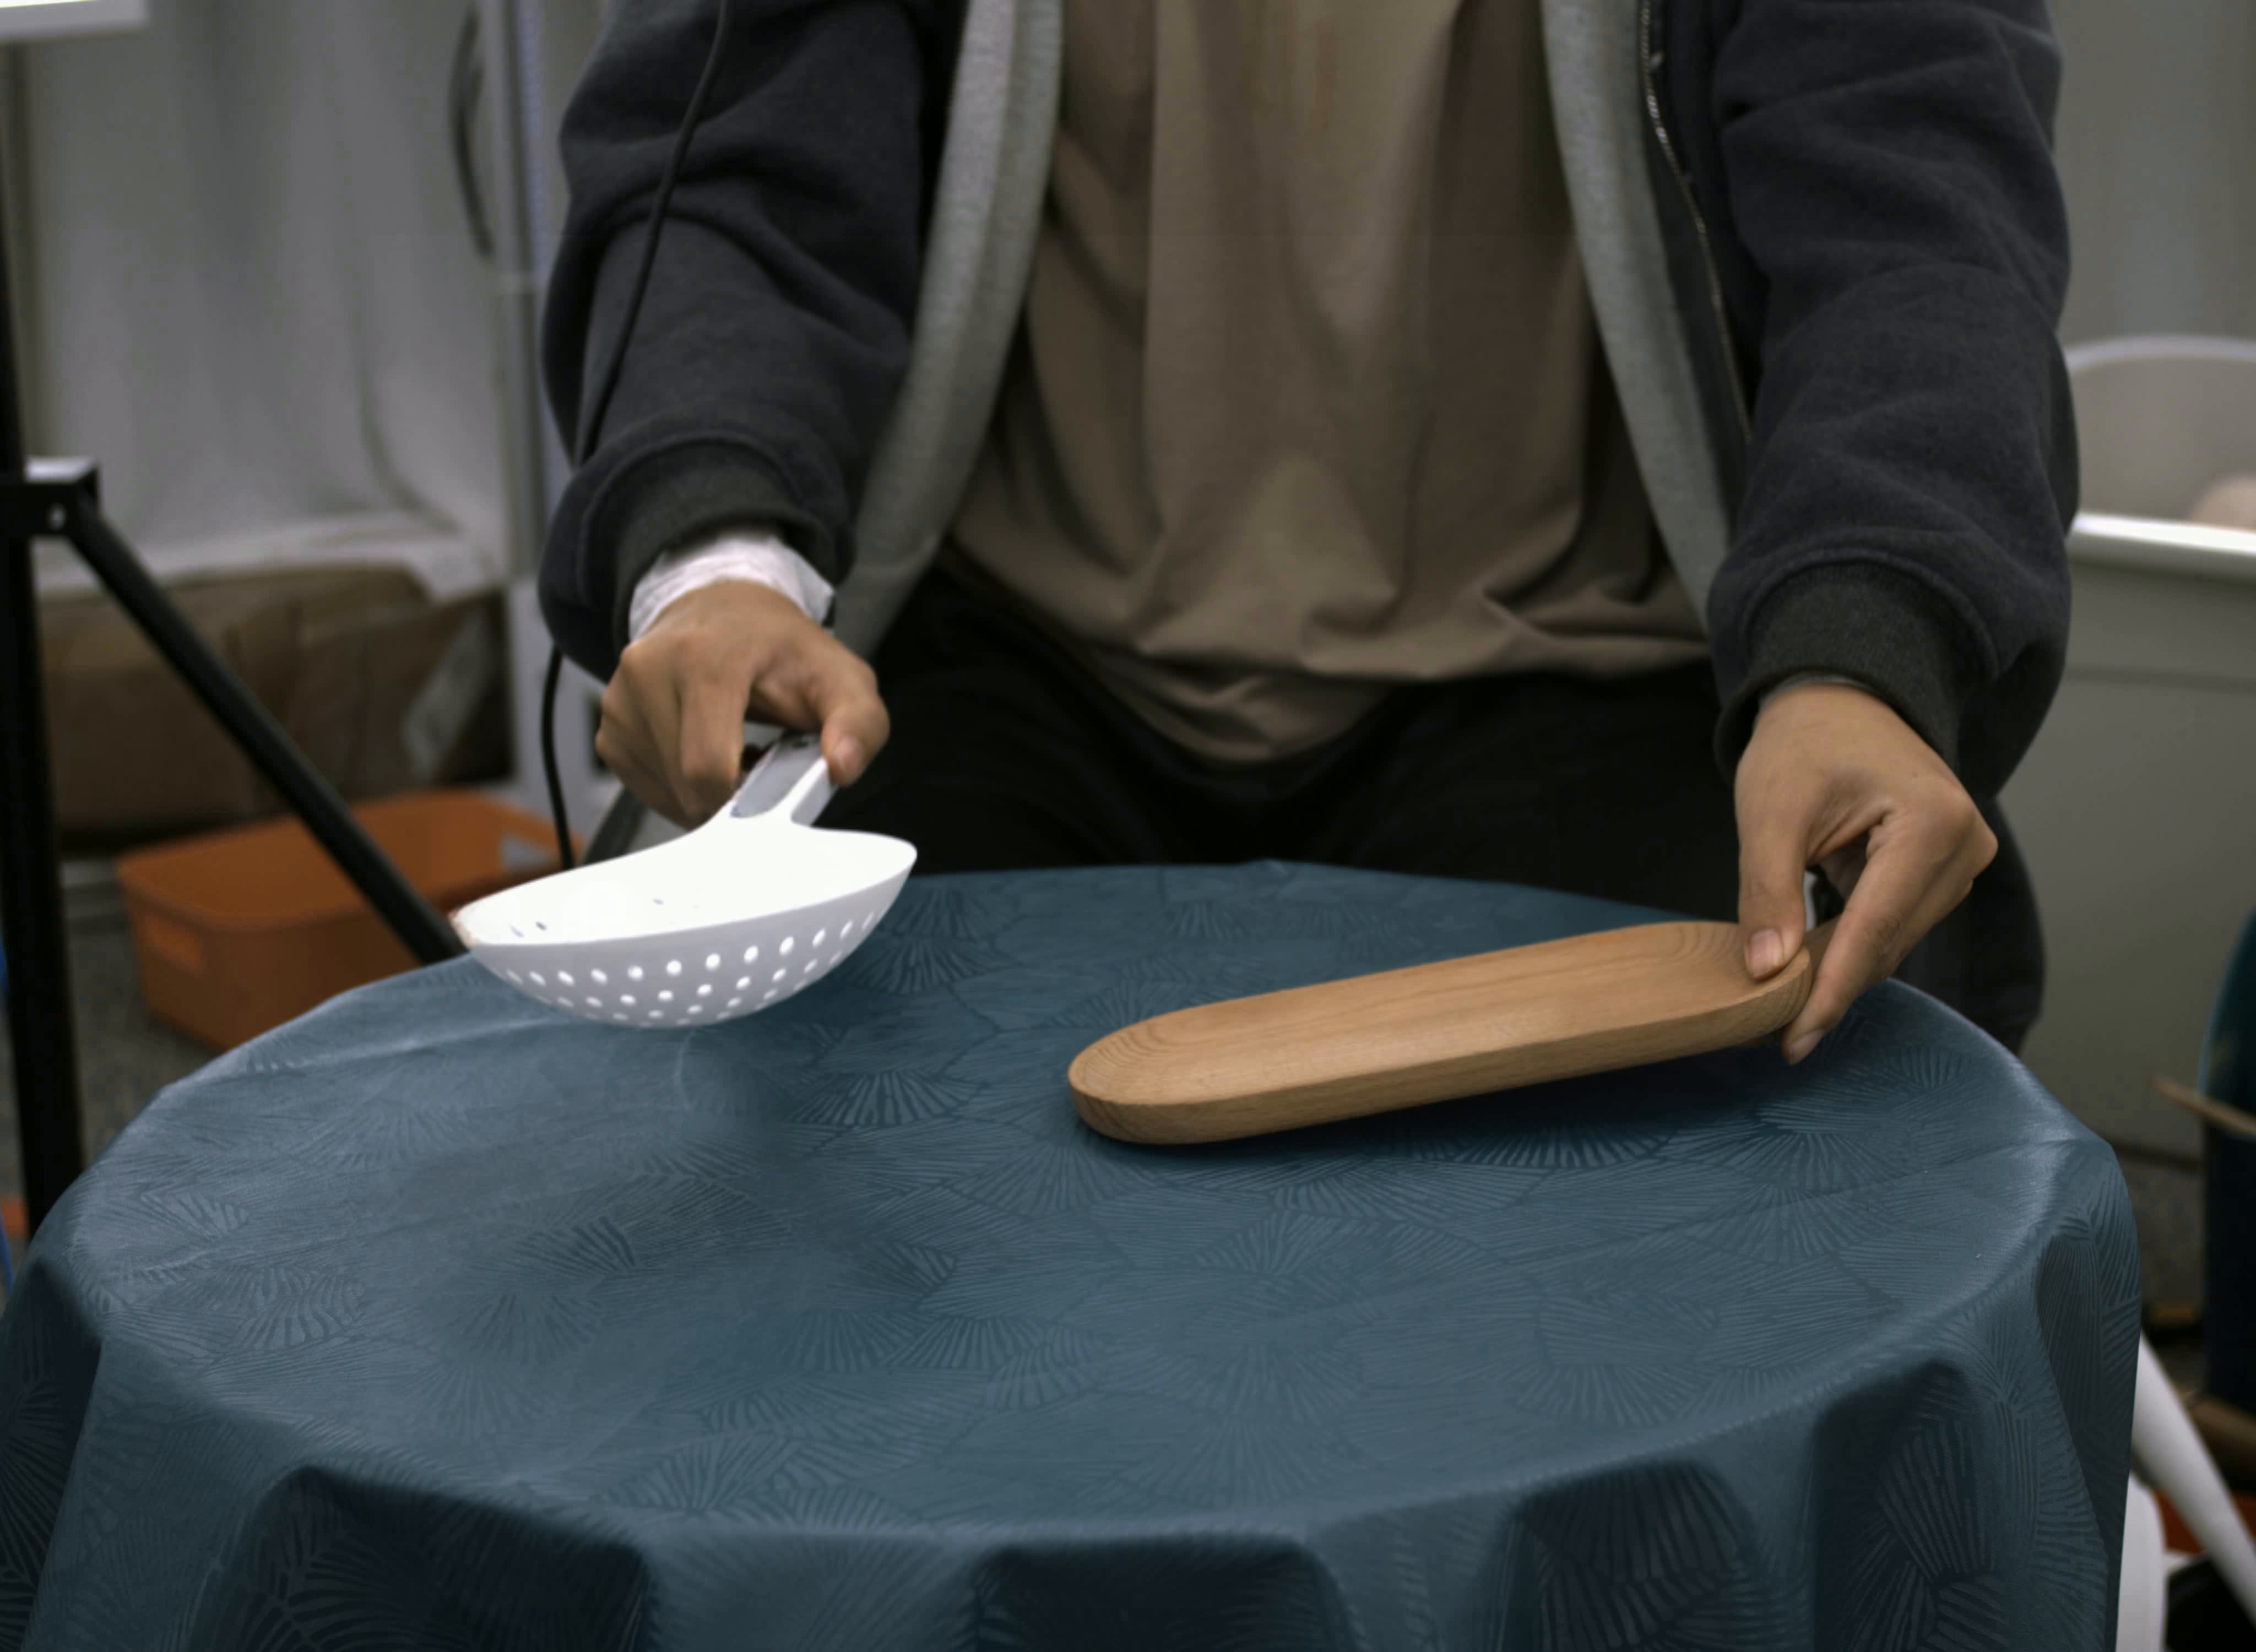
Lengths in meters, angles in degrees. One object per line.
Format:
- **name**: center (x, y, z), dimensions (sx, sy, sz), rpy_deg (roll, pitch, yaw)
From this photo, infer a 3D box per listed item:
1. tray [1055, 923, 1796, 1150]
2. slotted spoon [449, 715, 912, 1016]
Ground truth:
- **tray**: center (0.092, 0.065, 1.625), dimensions (0.229, 0.020, 0.102), rpy_deg (-12, 14, -3)
- **slotted spoon**: center (-0.119, 0.002, 1.644), dimensions (0.136, 0.045, 0.350), rpy_deg (-8, 14, 6)
